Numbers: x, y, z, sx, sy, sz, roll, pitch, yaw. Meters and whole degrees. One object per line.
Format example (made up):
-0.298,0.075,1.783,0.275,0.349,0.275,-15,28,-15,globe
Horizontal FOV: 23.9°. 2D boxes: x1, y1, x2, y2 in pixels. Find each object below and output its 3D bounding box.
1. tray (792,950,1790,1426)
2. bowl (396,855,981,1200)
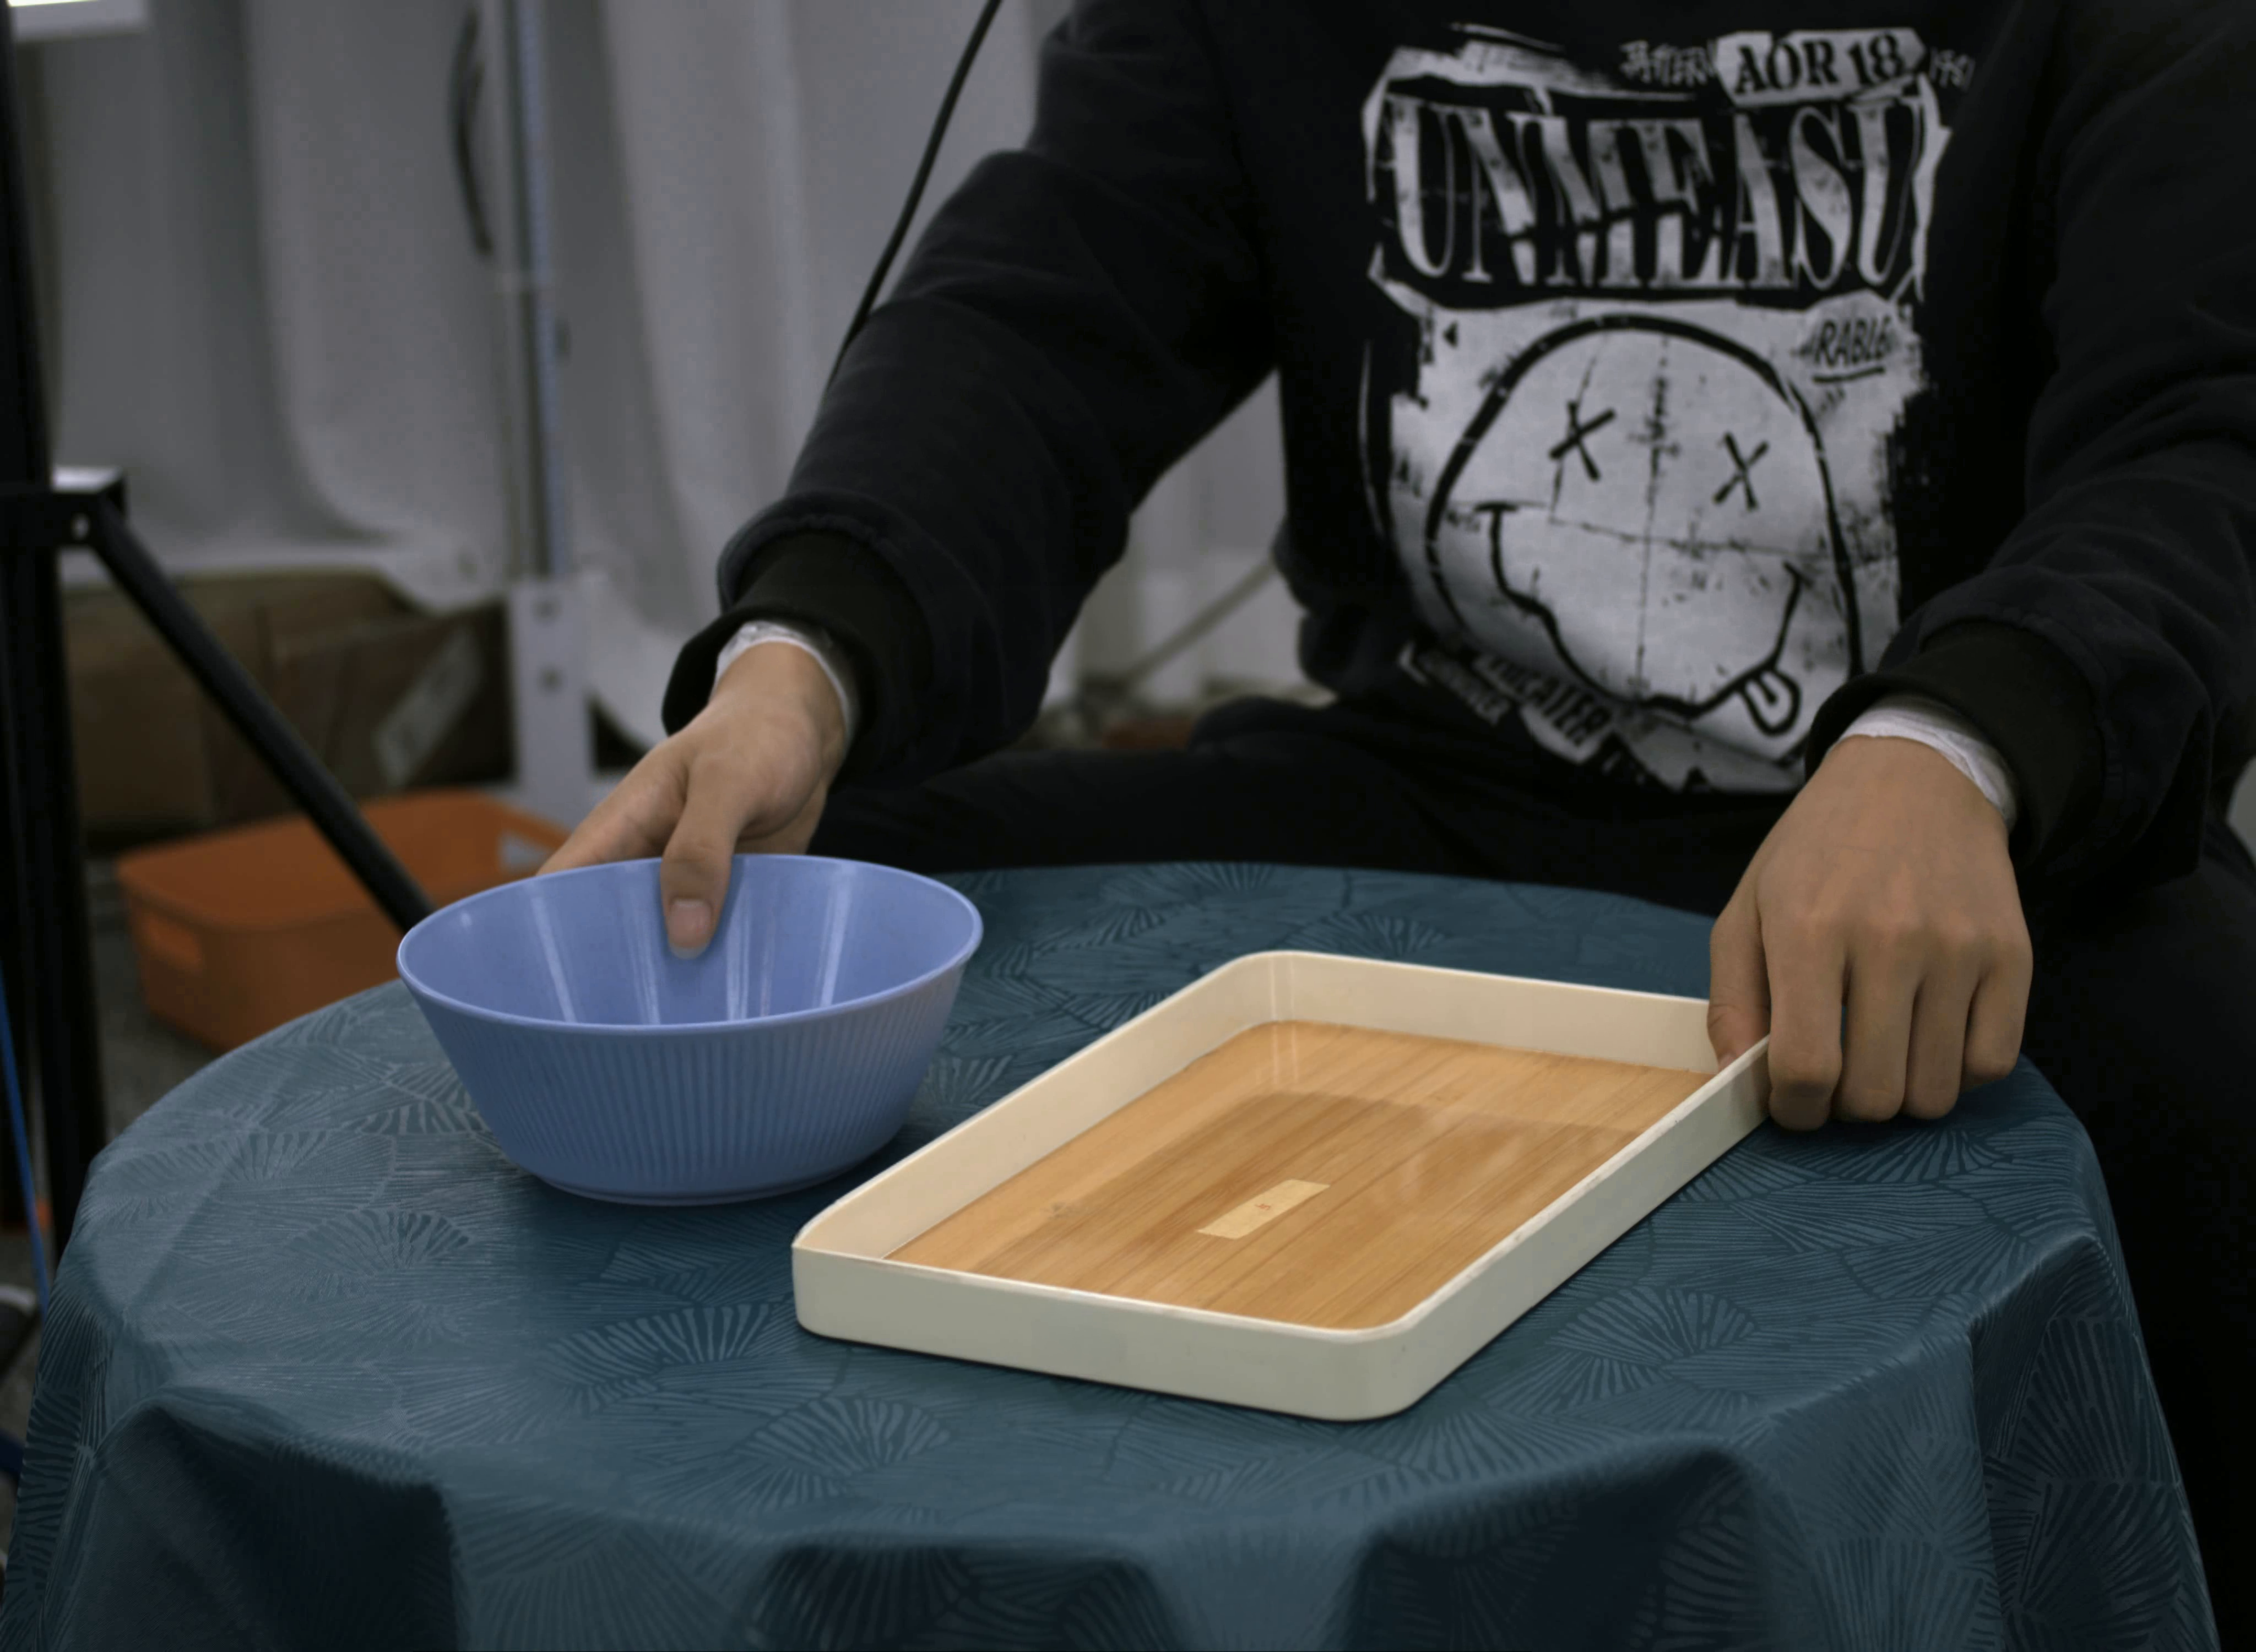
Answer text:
0.055,0.099,1.534,0.195,0.027,0.295,6,18,29,tray
-0.131,0.063,1.608,0.175,0.070,0.177,-2,16,-1,bowl
